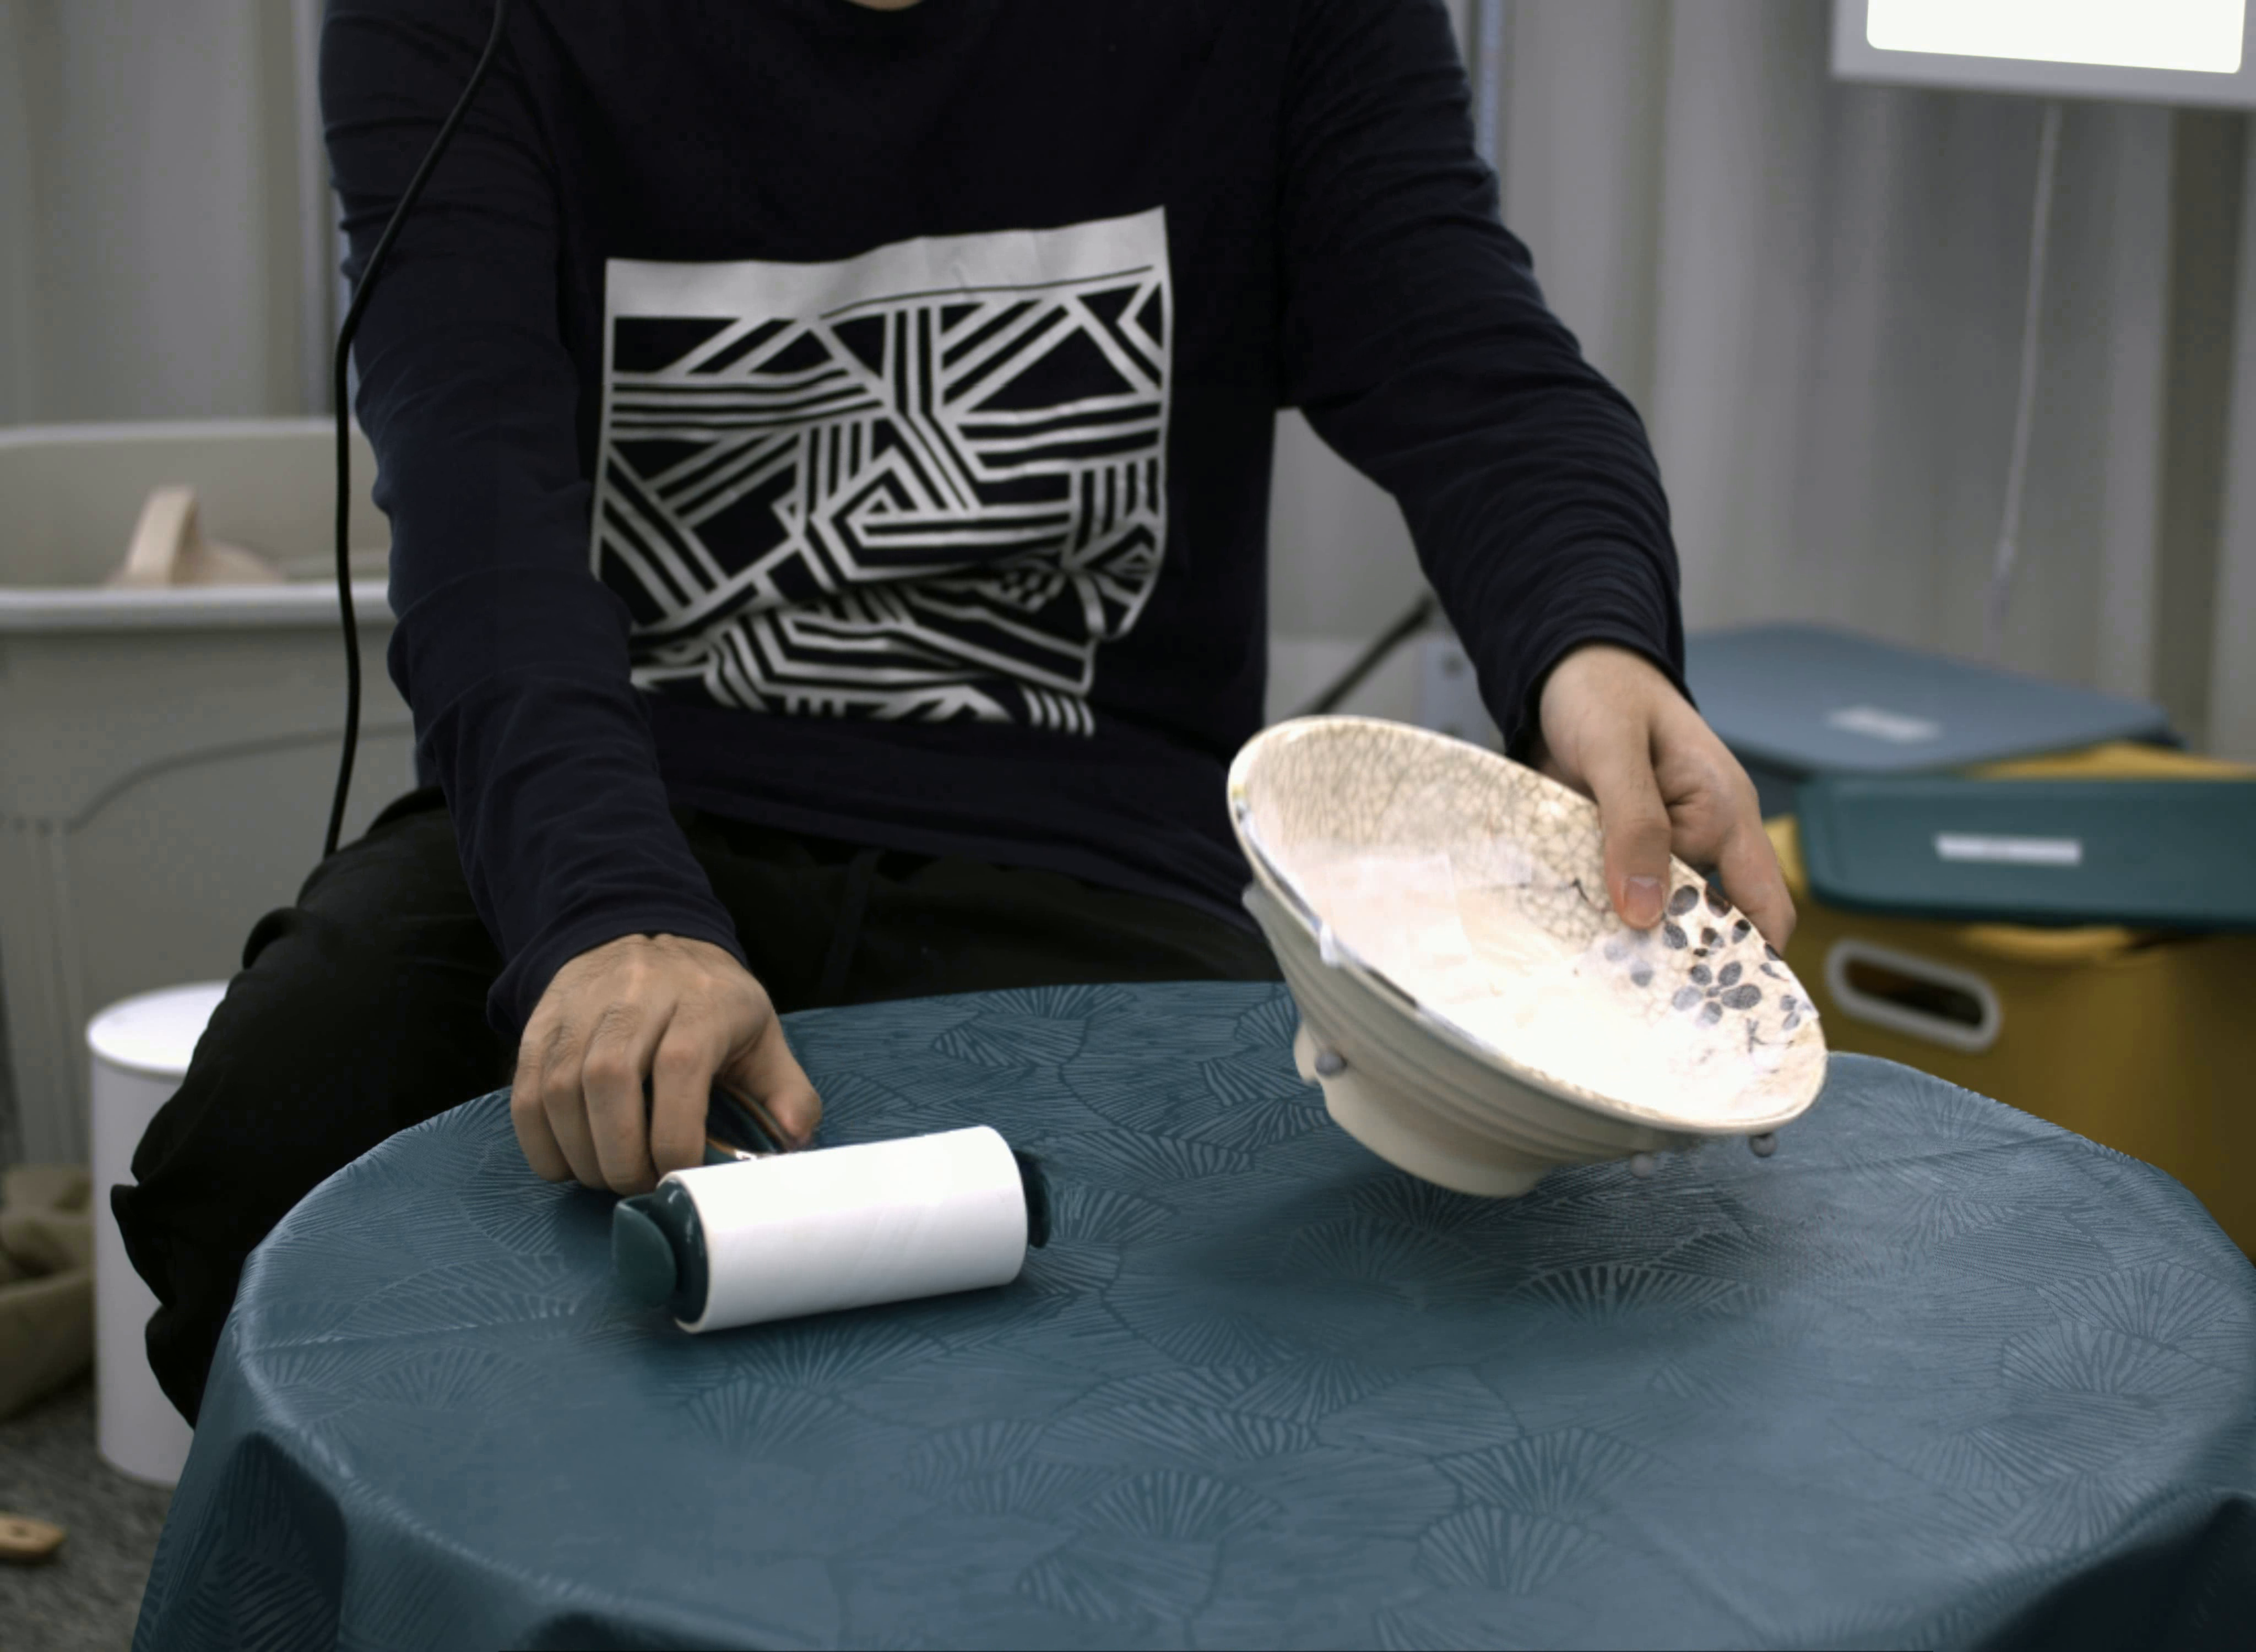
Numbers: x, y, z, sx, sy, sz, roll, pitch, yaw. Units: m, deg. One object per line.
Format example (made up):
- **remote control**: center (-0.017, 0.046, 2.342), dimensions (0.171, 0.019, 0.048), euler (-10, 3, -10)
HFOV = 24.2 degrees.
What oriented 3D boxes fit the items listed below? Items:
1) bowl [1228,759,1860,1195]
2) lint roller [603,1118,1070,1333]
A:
- **bowl**: center (0.115, 0.058, 1.601), dimensions (0.204, 0.078, 0.203), euler (18, 18, -6)
- **lint roller**: center (-0.113, 0.098, 1.574), dimensions (0.135, 0.049, 0.178), euler (-7, 19, -25)
